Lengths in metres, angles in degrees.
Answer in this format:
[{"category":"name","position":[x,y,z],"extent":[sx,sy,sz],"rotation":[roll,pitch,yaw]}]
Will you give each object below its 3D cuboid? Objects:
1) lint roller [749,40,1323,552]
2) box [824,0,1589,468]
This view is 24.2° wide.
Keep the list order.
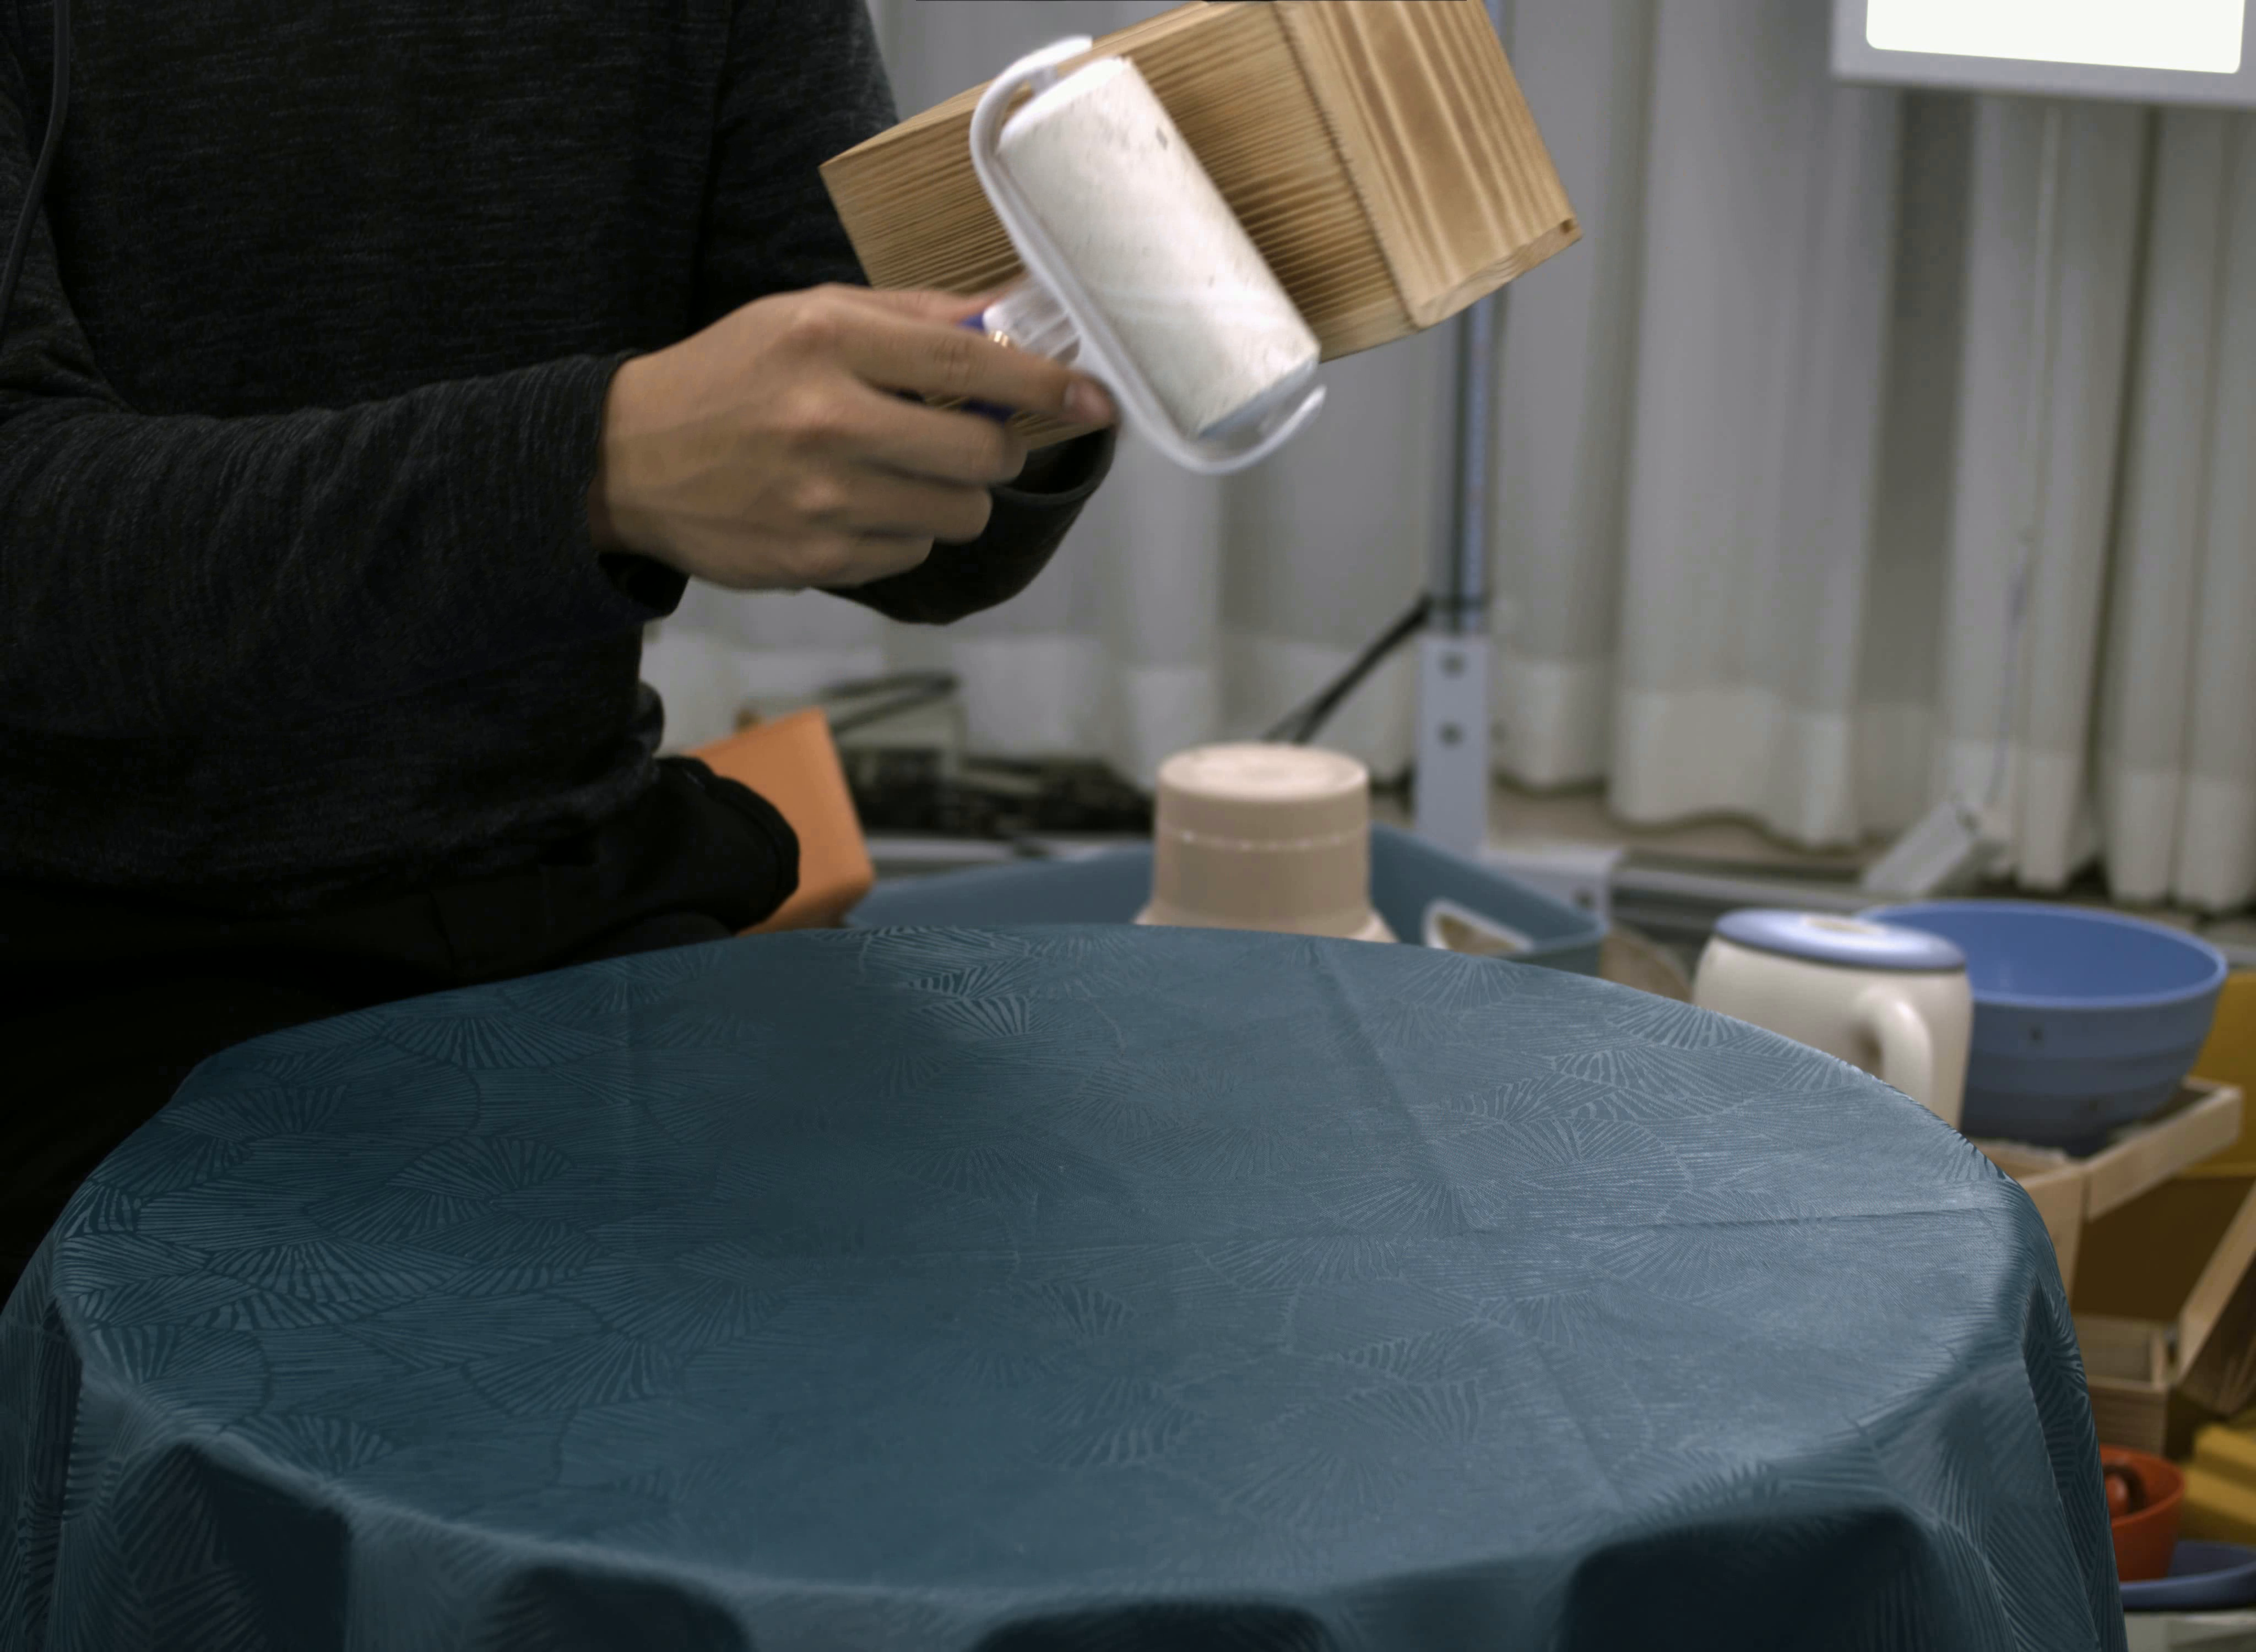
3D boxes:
[{"category":"lint roller","position":[-0.045,-0.130,1.502],"extent":[0.180,0.133,0.050],"rotation":[-30,7,20]},{"category":"box","position":[0.020,-0.190,1.570],"extent":[0.209,0.108,0.080],"rotation":[-12,17,47]}]
